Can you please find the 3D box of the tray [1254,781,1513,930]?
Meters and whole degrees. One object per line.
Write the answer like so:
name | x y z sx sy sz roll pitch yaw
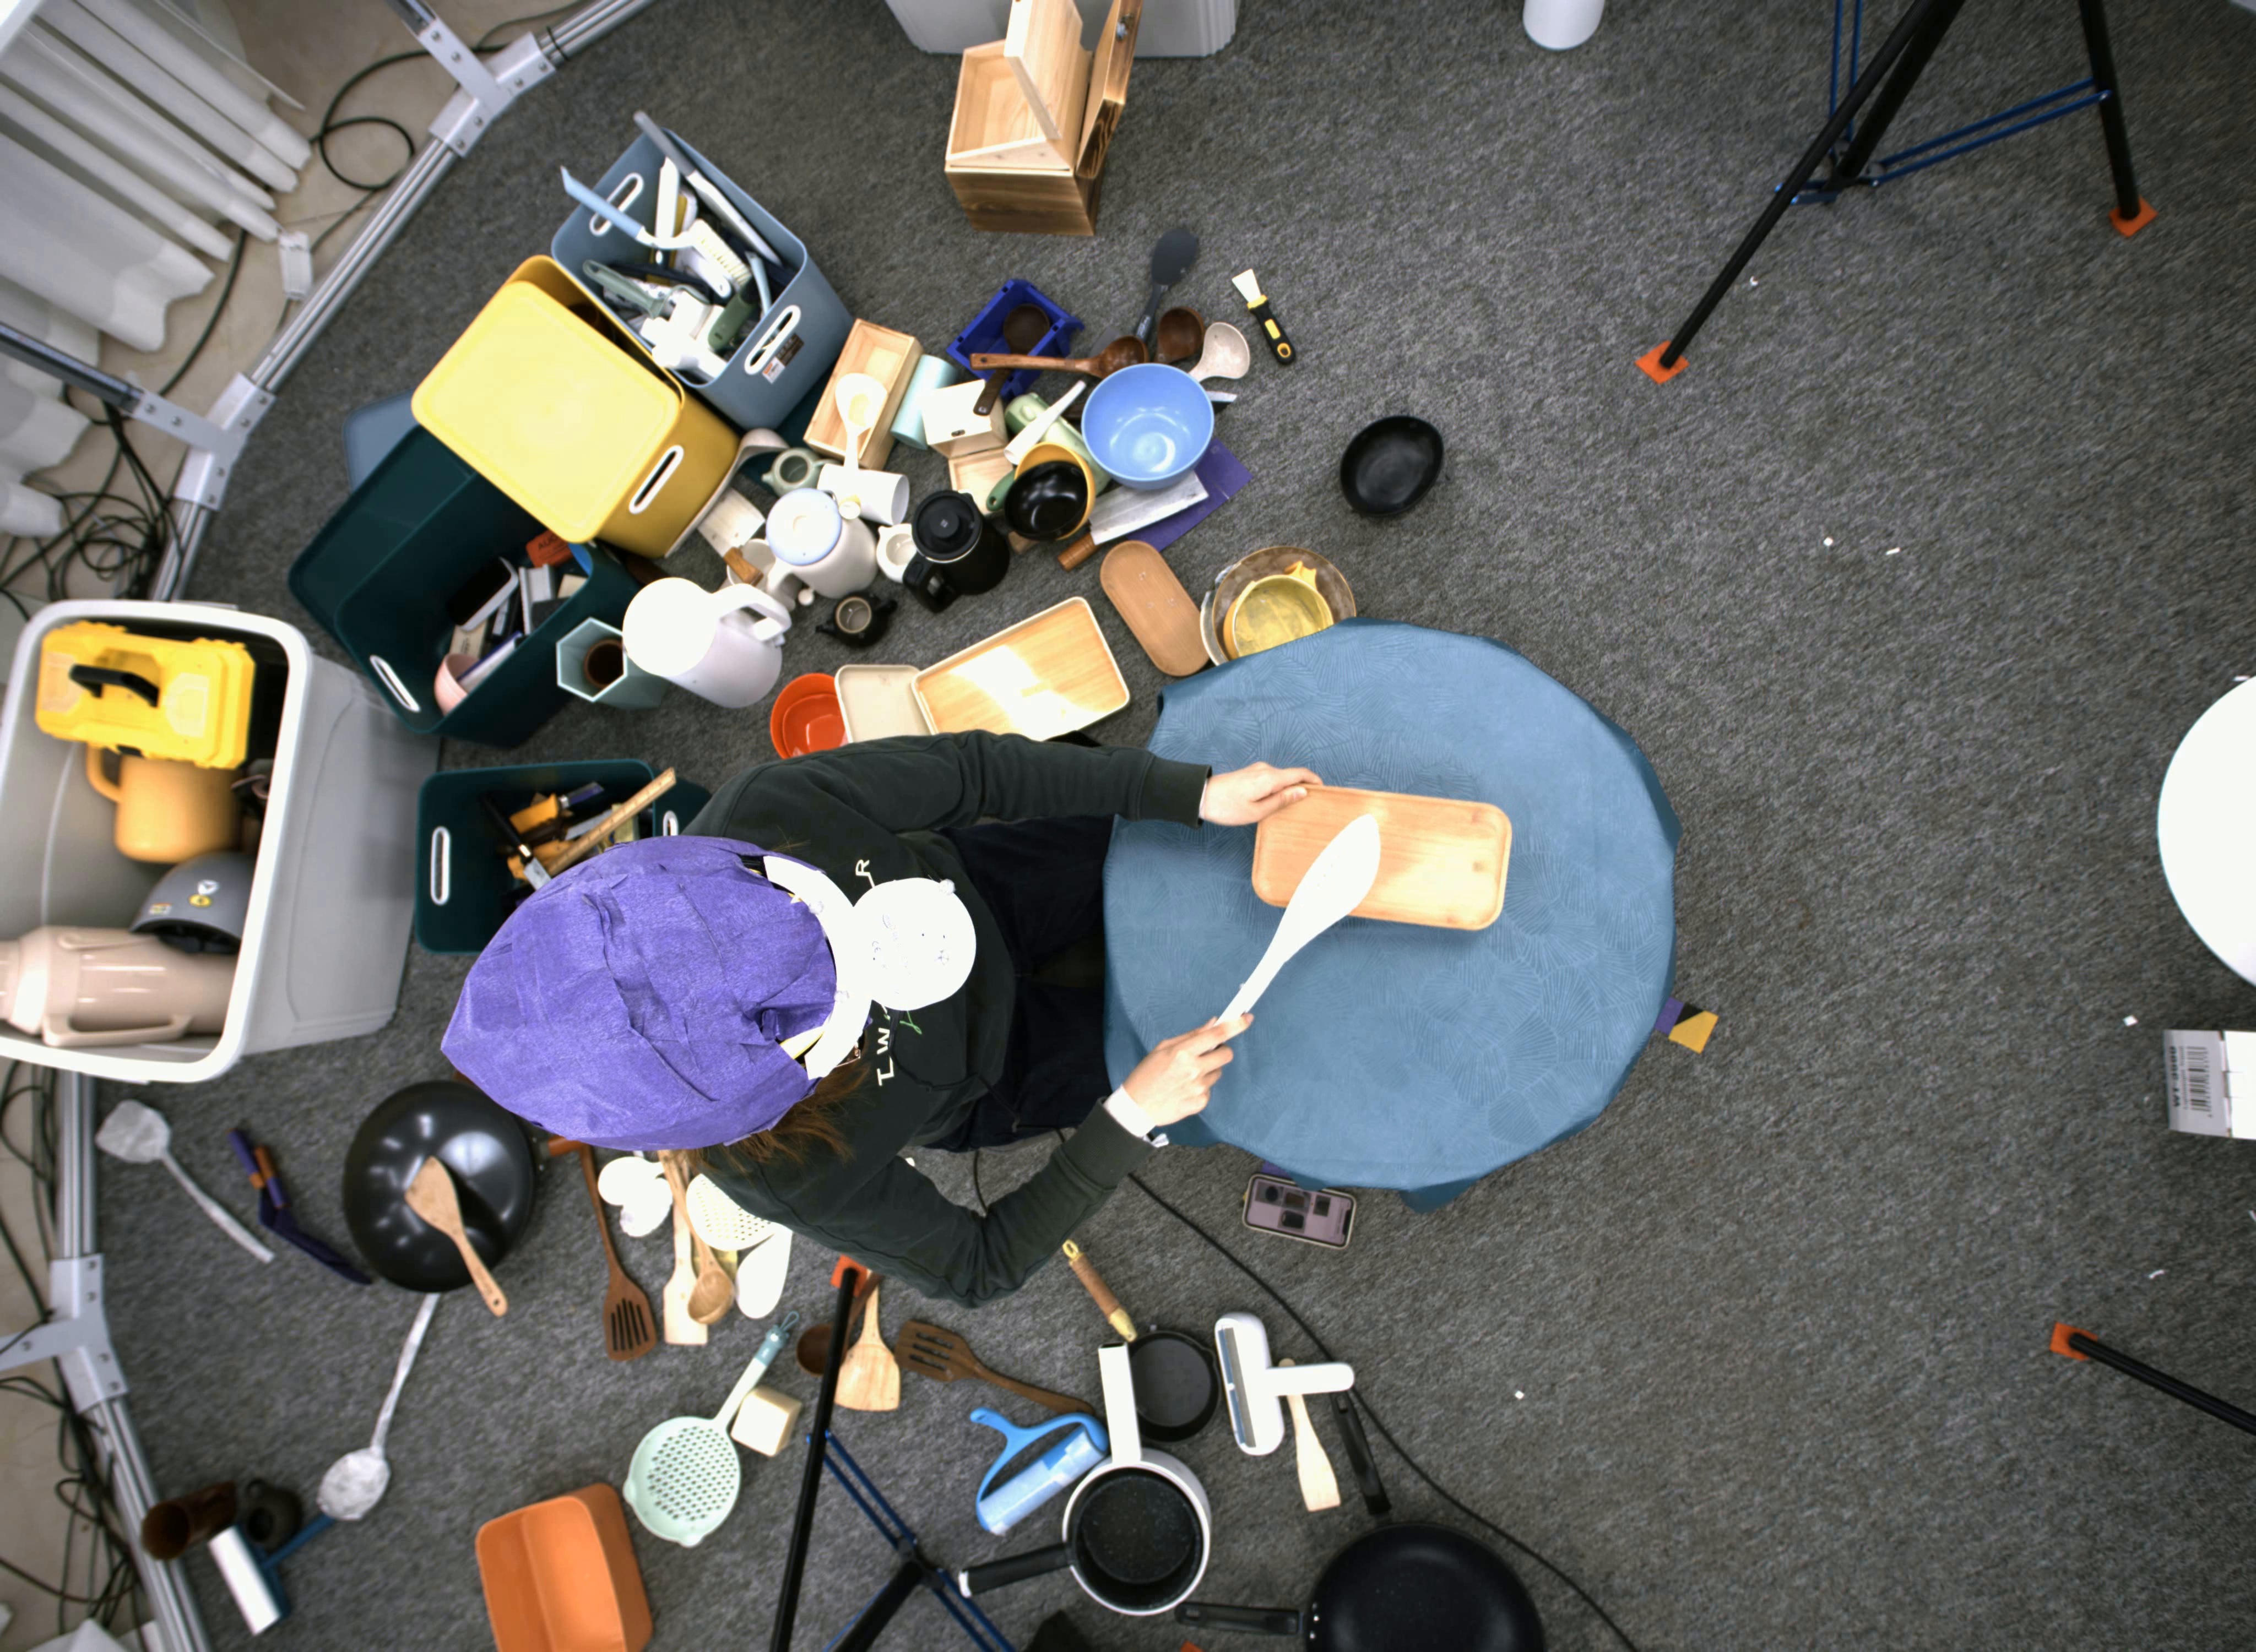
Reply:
tray | 0.255 0.028 1.386 0.251 0.023 0.131 7 96 9

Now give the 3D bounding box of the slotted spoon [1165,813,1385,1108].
slotted spoon | 0.142 0.134 1.345 0.045 0.136 0.353 44 103 21
